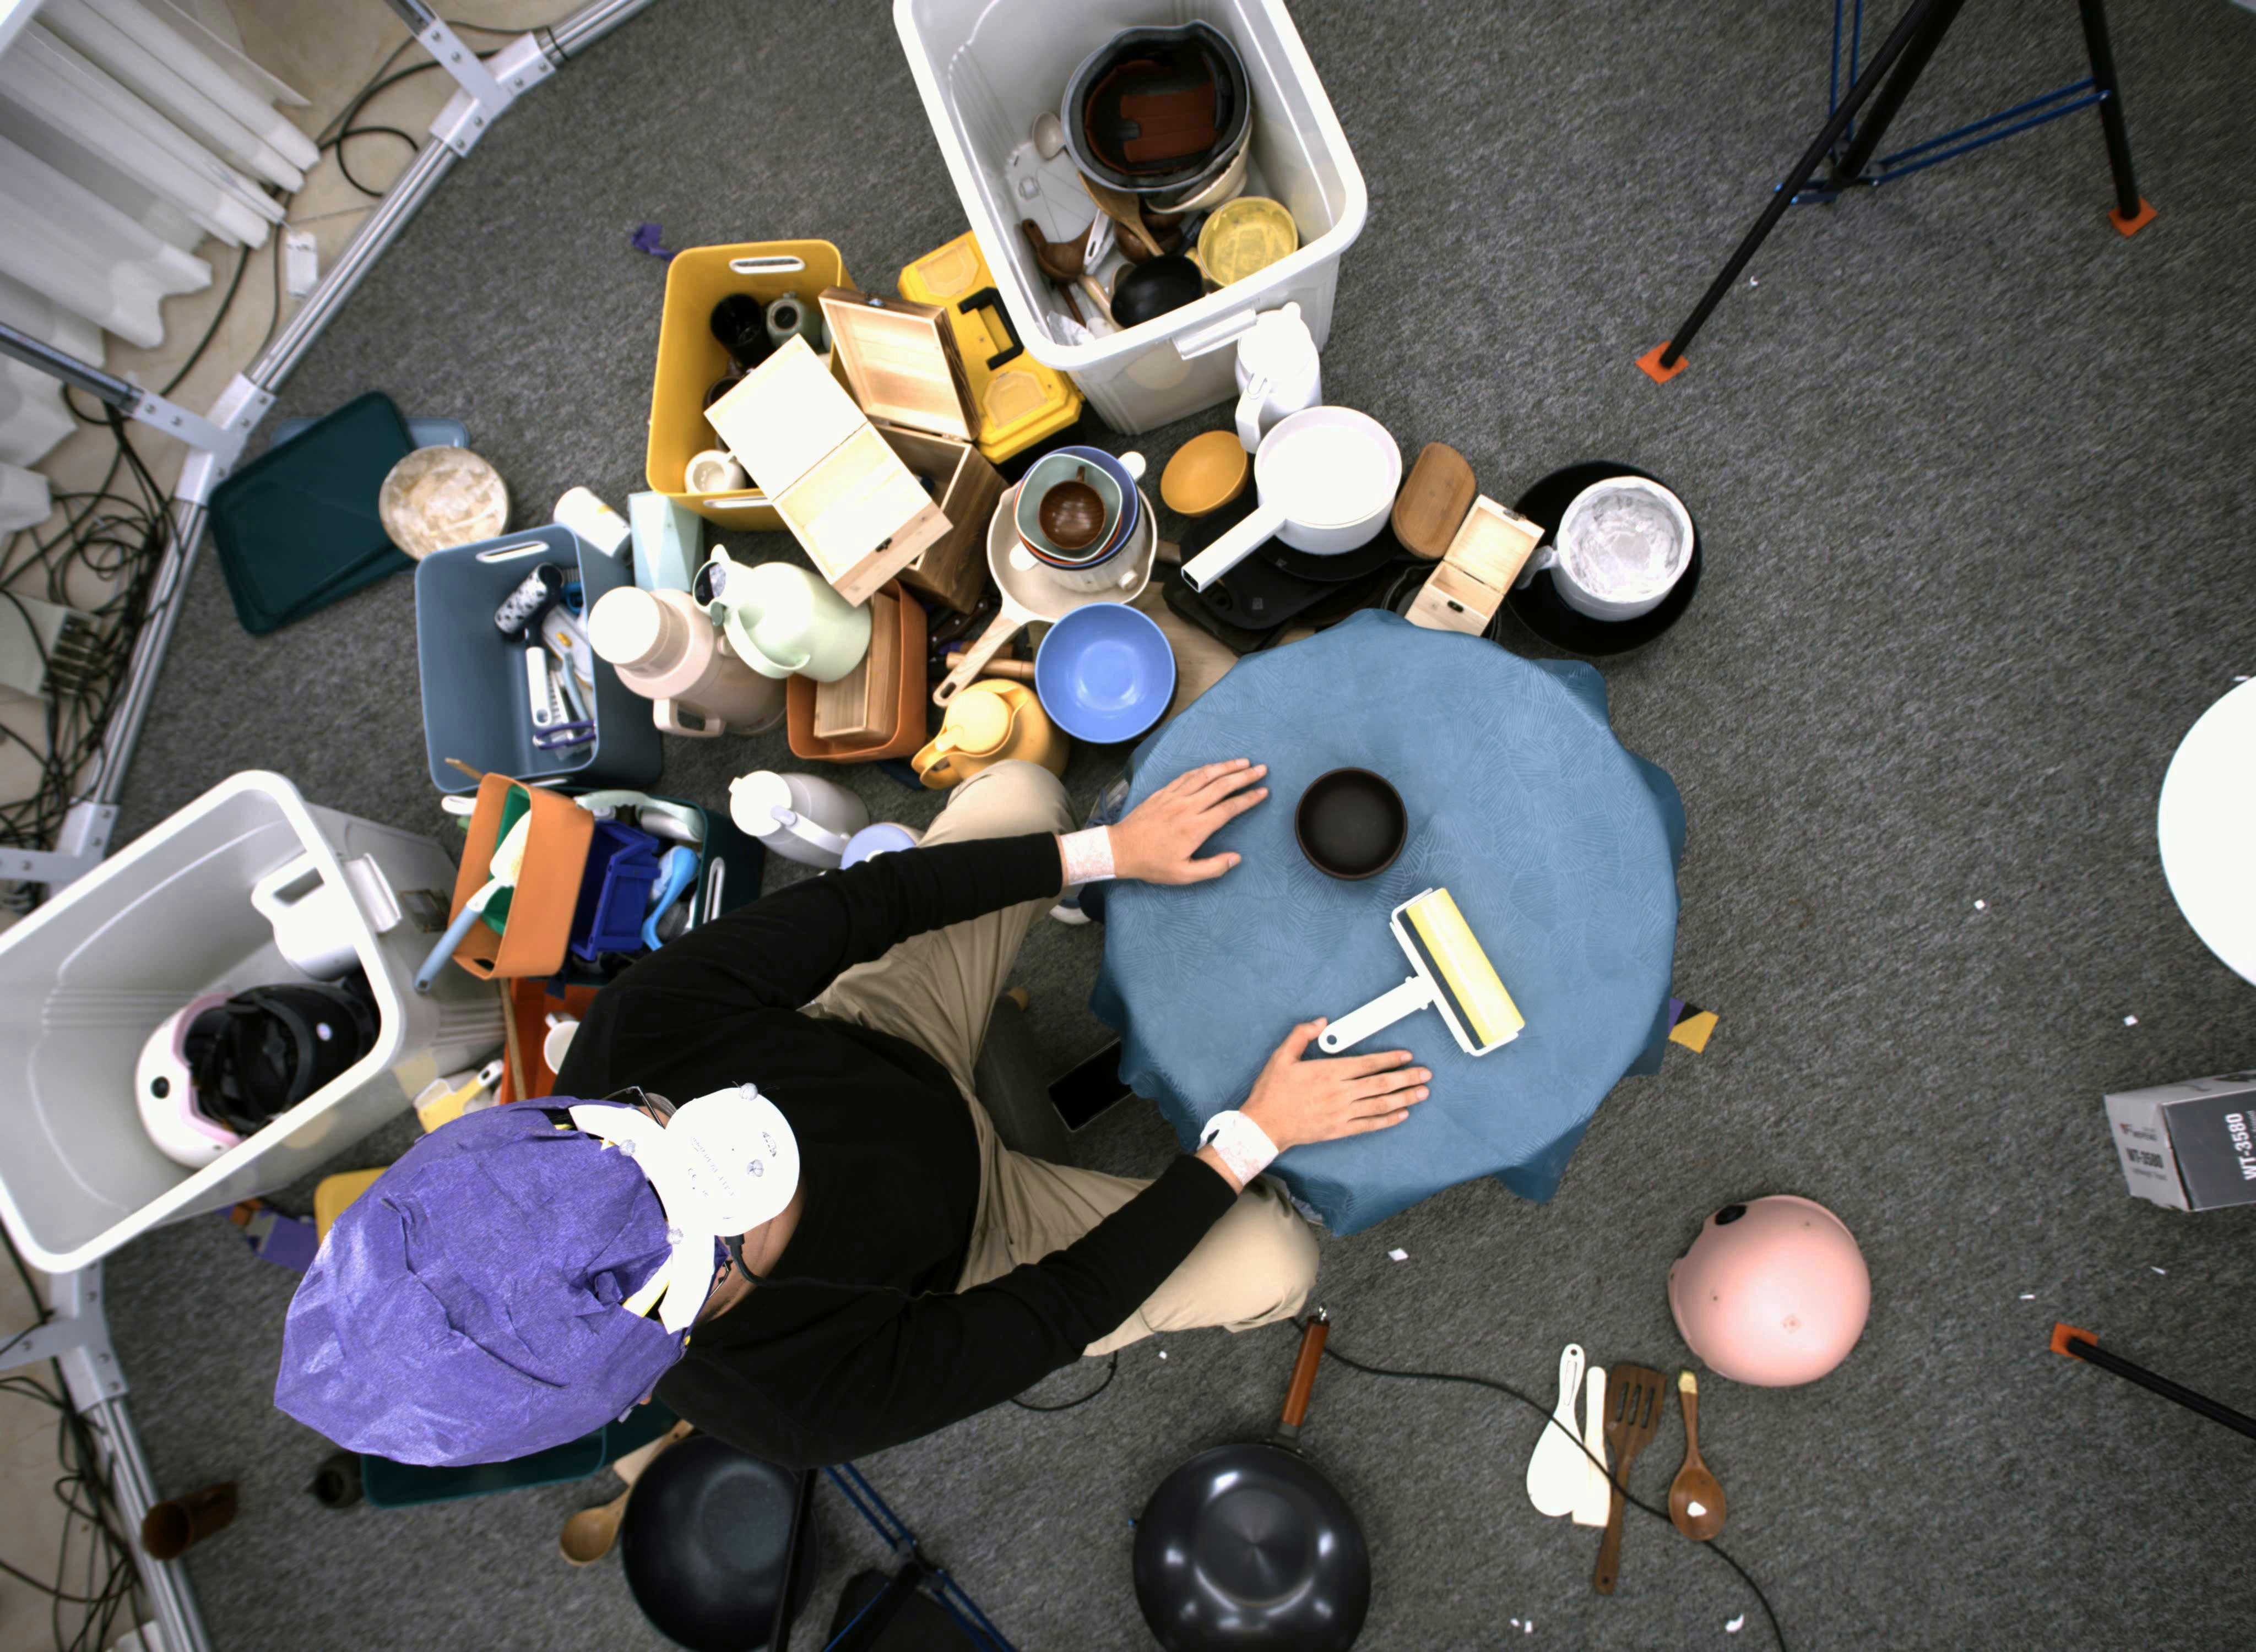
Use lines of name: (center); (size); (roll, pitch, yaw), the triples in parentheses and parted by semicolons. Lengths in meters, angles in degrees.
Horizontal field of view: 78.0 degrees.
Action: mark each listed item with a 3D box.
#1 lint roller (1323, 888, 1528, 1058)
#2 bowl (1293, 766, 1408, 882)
lint roller: (0.286, 0.181, 1.424); (0.192, 0.051, 0.173); (-31, 81, 3)
bowl: (0.231, -0.001, 1.434); (0.118, 0.070, 0.117); (-1, 85, 9)
